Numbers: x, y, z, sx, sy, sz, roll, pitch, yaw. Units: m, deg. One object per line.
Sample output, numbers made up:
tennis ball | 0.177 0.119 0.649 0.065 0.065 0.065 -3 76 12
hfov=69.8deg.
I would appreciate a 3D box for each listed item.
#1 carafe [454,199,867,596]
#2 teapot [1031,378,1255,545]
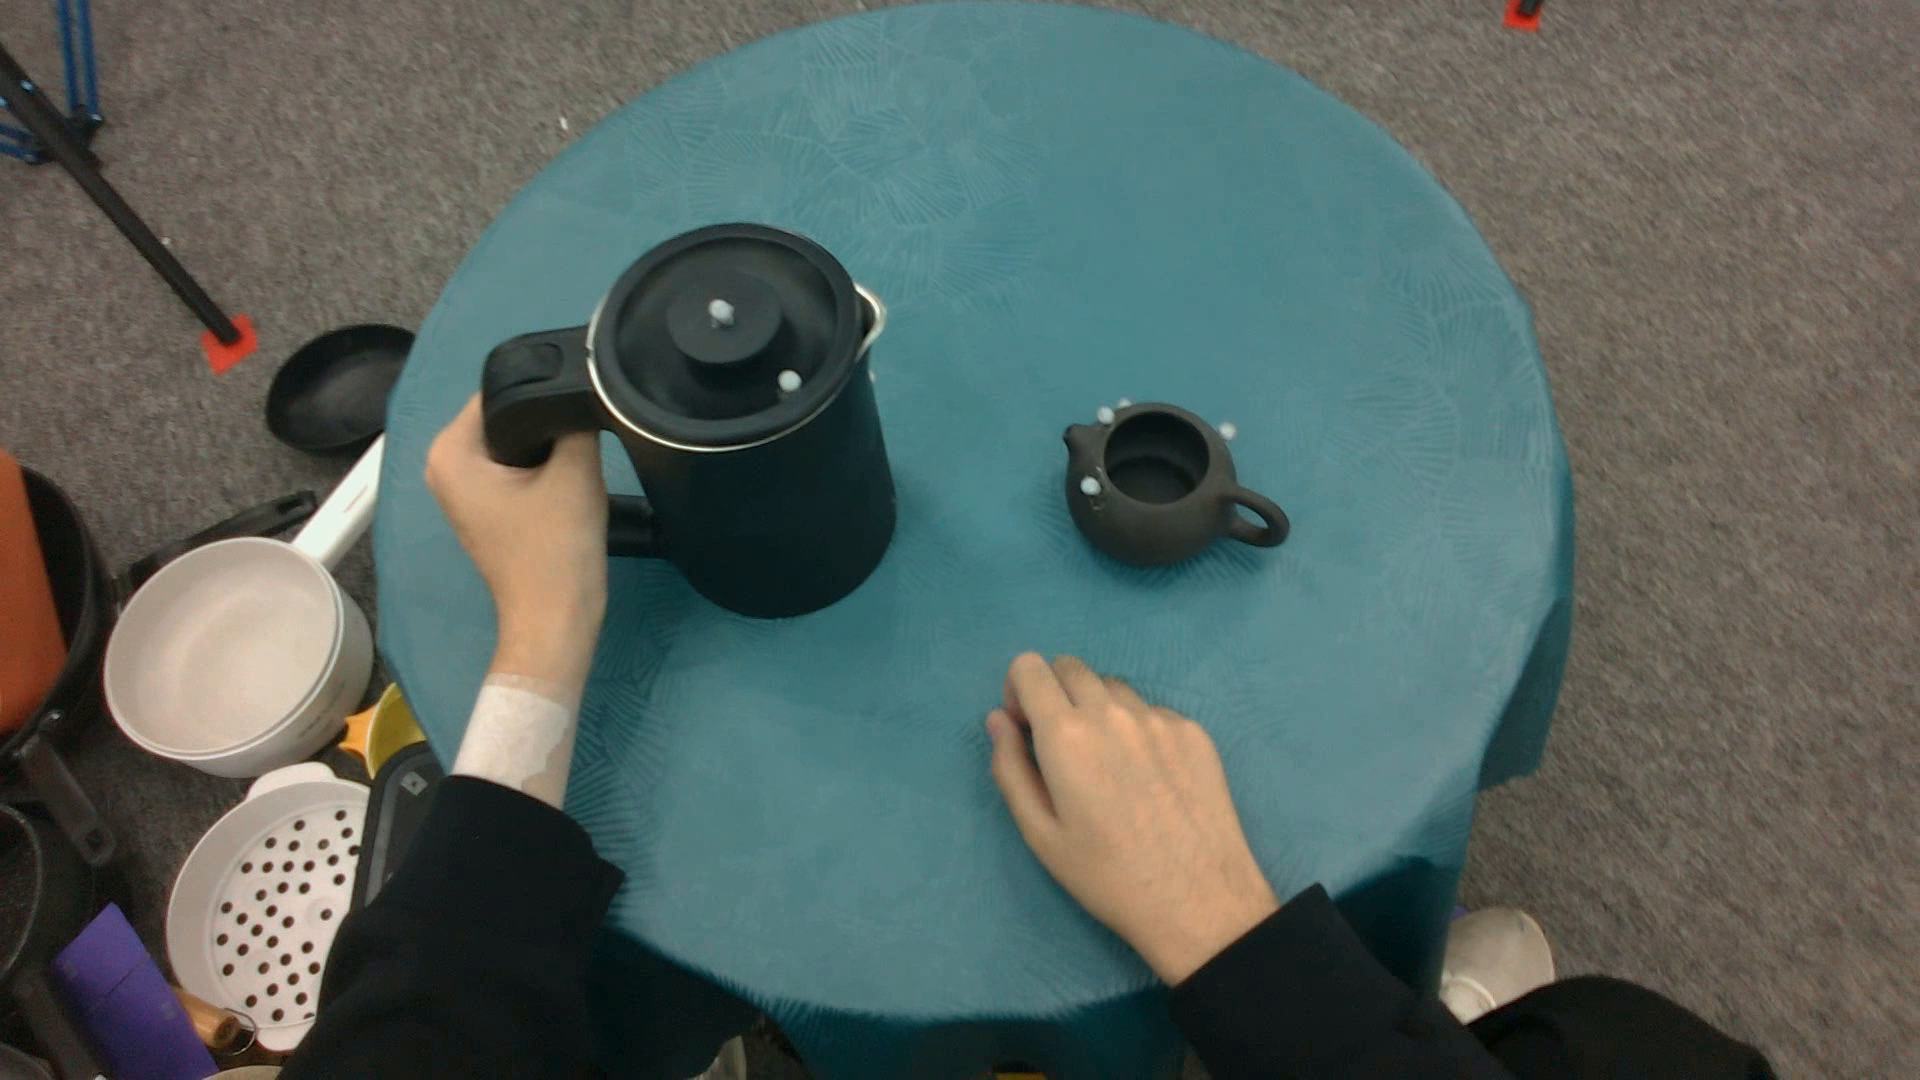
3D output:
carafe | -0.124 -0.055 0.605 0.172 0.172 0.115 -10 66 -6
teapot | 0.087 -0.034 0.655 0.114 0.053 0.083 25 69 16
